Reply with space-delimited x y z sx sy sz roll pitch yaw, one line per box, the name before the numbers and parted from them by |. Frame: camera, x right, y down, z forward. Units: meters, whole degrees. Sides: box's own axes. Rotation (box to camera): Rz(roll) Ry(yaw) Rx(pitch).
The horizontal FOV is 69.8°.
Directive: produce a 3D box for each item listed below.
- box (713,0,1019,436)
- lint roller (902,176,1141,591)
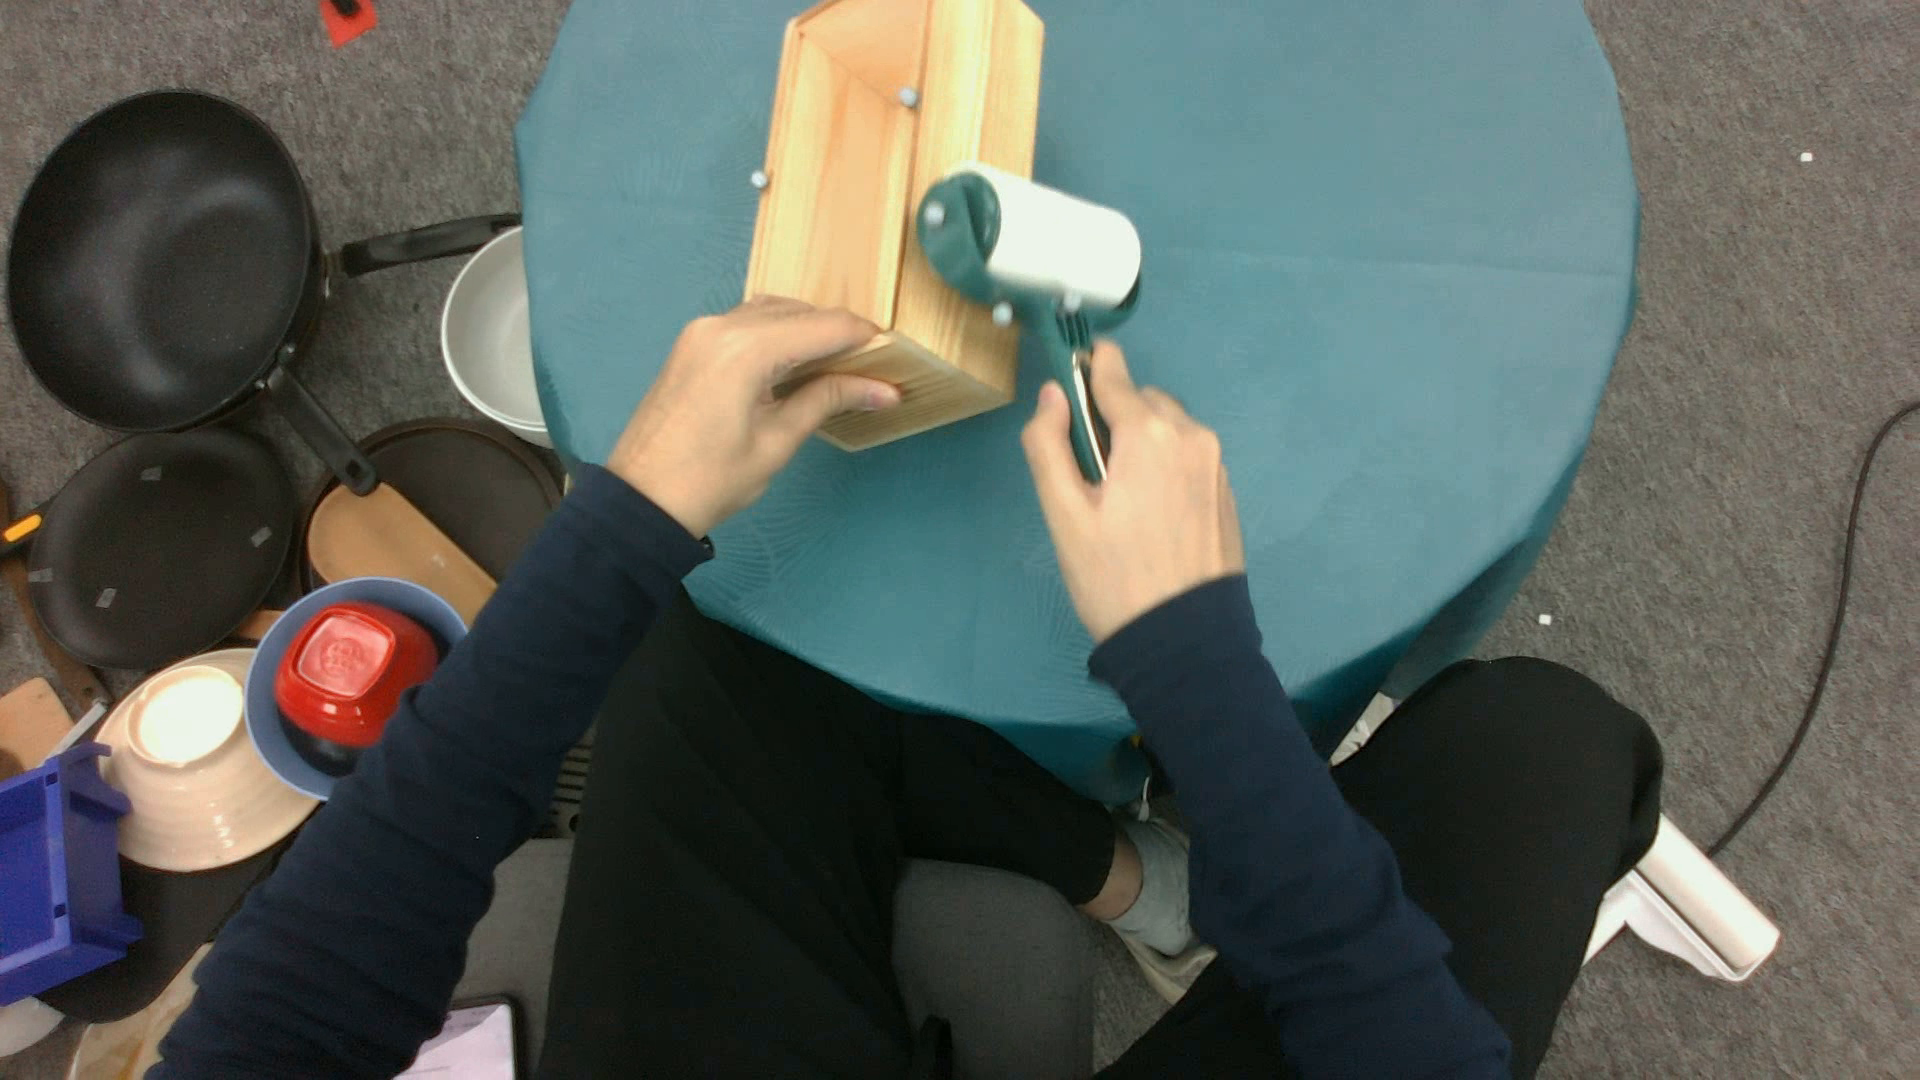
box | -0.042 -0.169 0.659 0.107 0.080 0.212 -12 66 37
lint roller | 0.050 -0.068 0.590 0.048 0.135 0.180 -35 70 34
